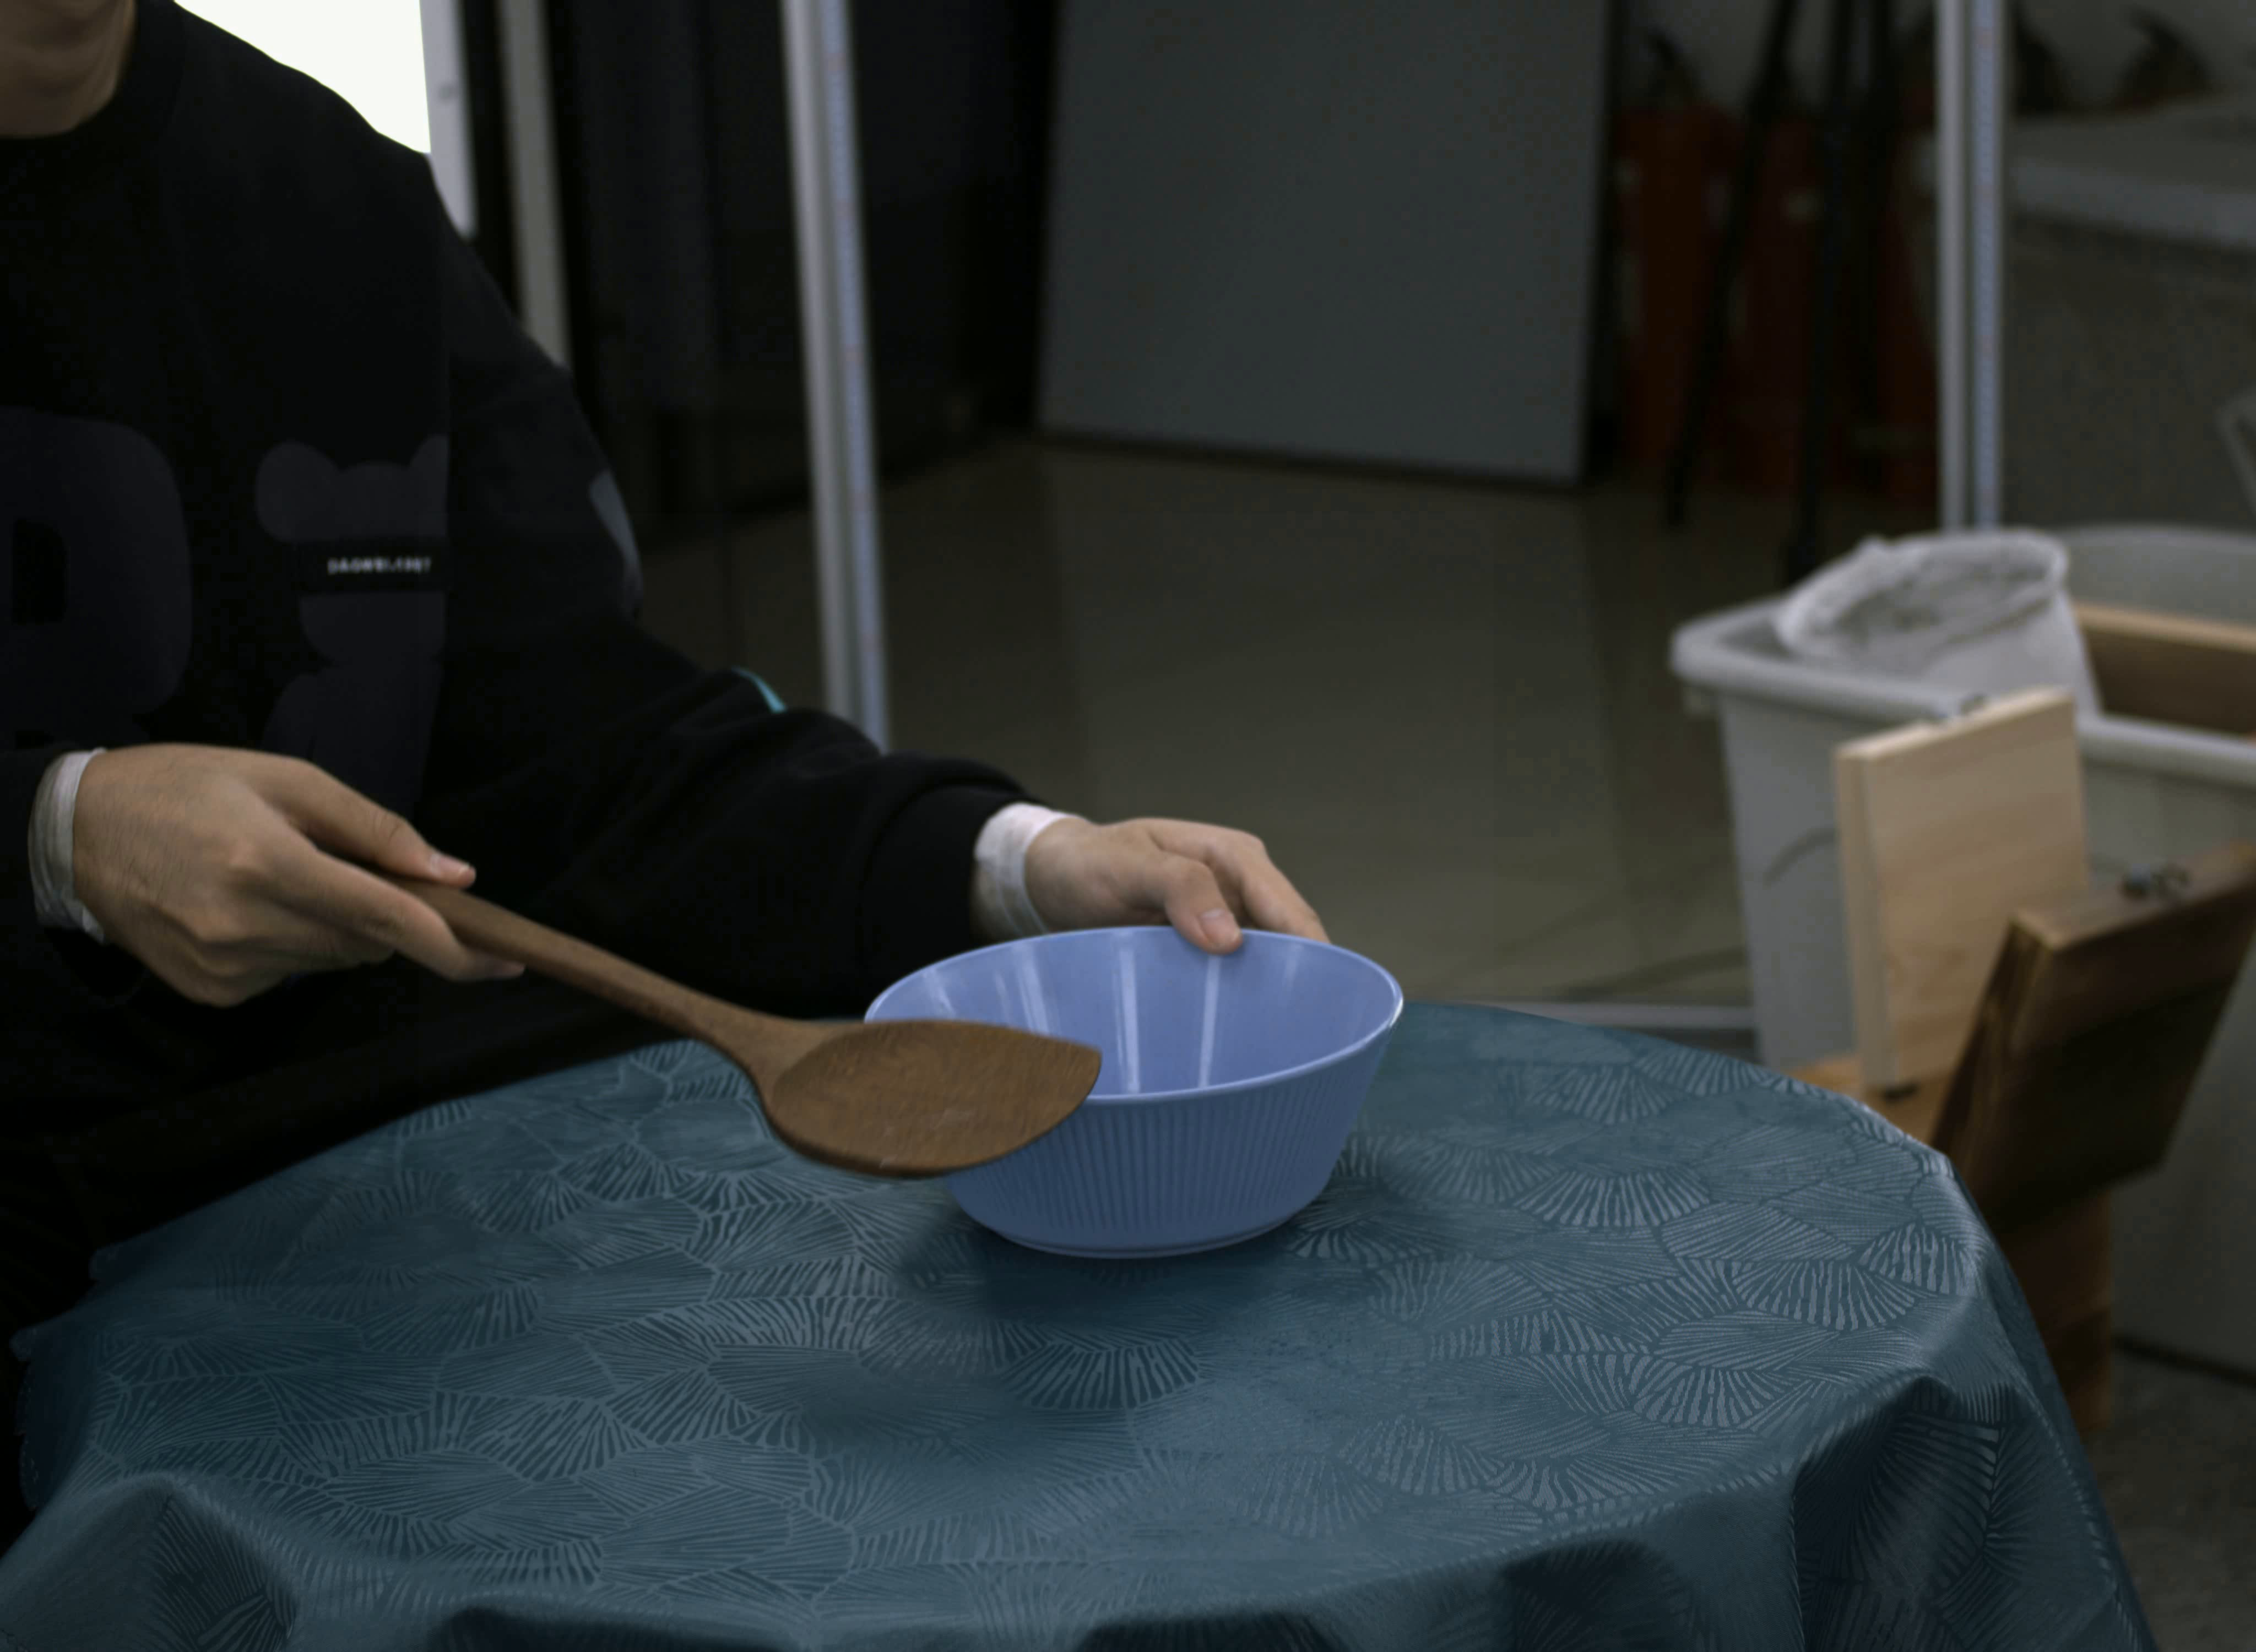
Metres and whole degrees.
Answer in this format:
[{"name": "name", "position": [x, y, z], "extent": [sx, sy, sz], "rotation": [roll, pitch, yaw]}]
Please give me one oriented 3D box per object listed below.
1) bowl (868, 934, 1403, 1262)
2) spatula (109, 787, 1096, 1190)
[{"name": "bowl", "position": [0.005, 0.090, 1.743], "extent": [0.174, 0.071, 0.176], "rotation": [-5, 14, 0]}, {"name": "spatula", "position": [-0.179, 0.043, 1.687], "extent": [0.388, 0.016, 0.094], "rotation": [19, 33, 33]}]
